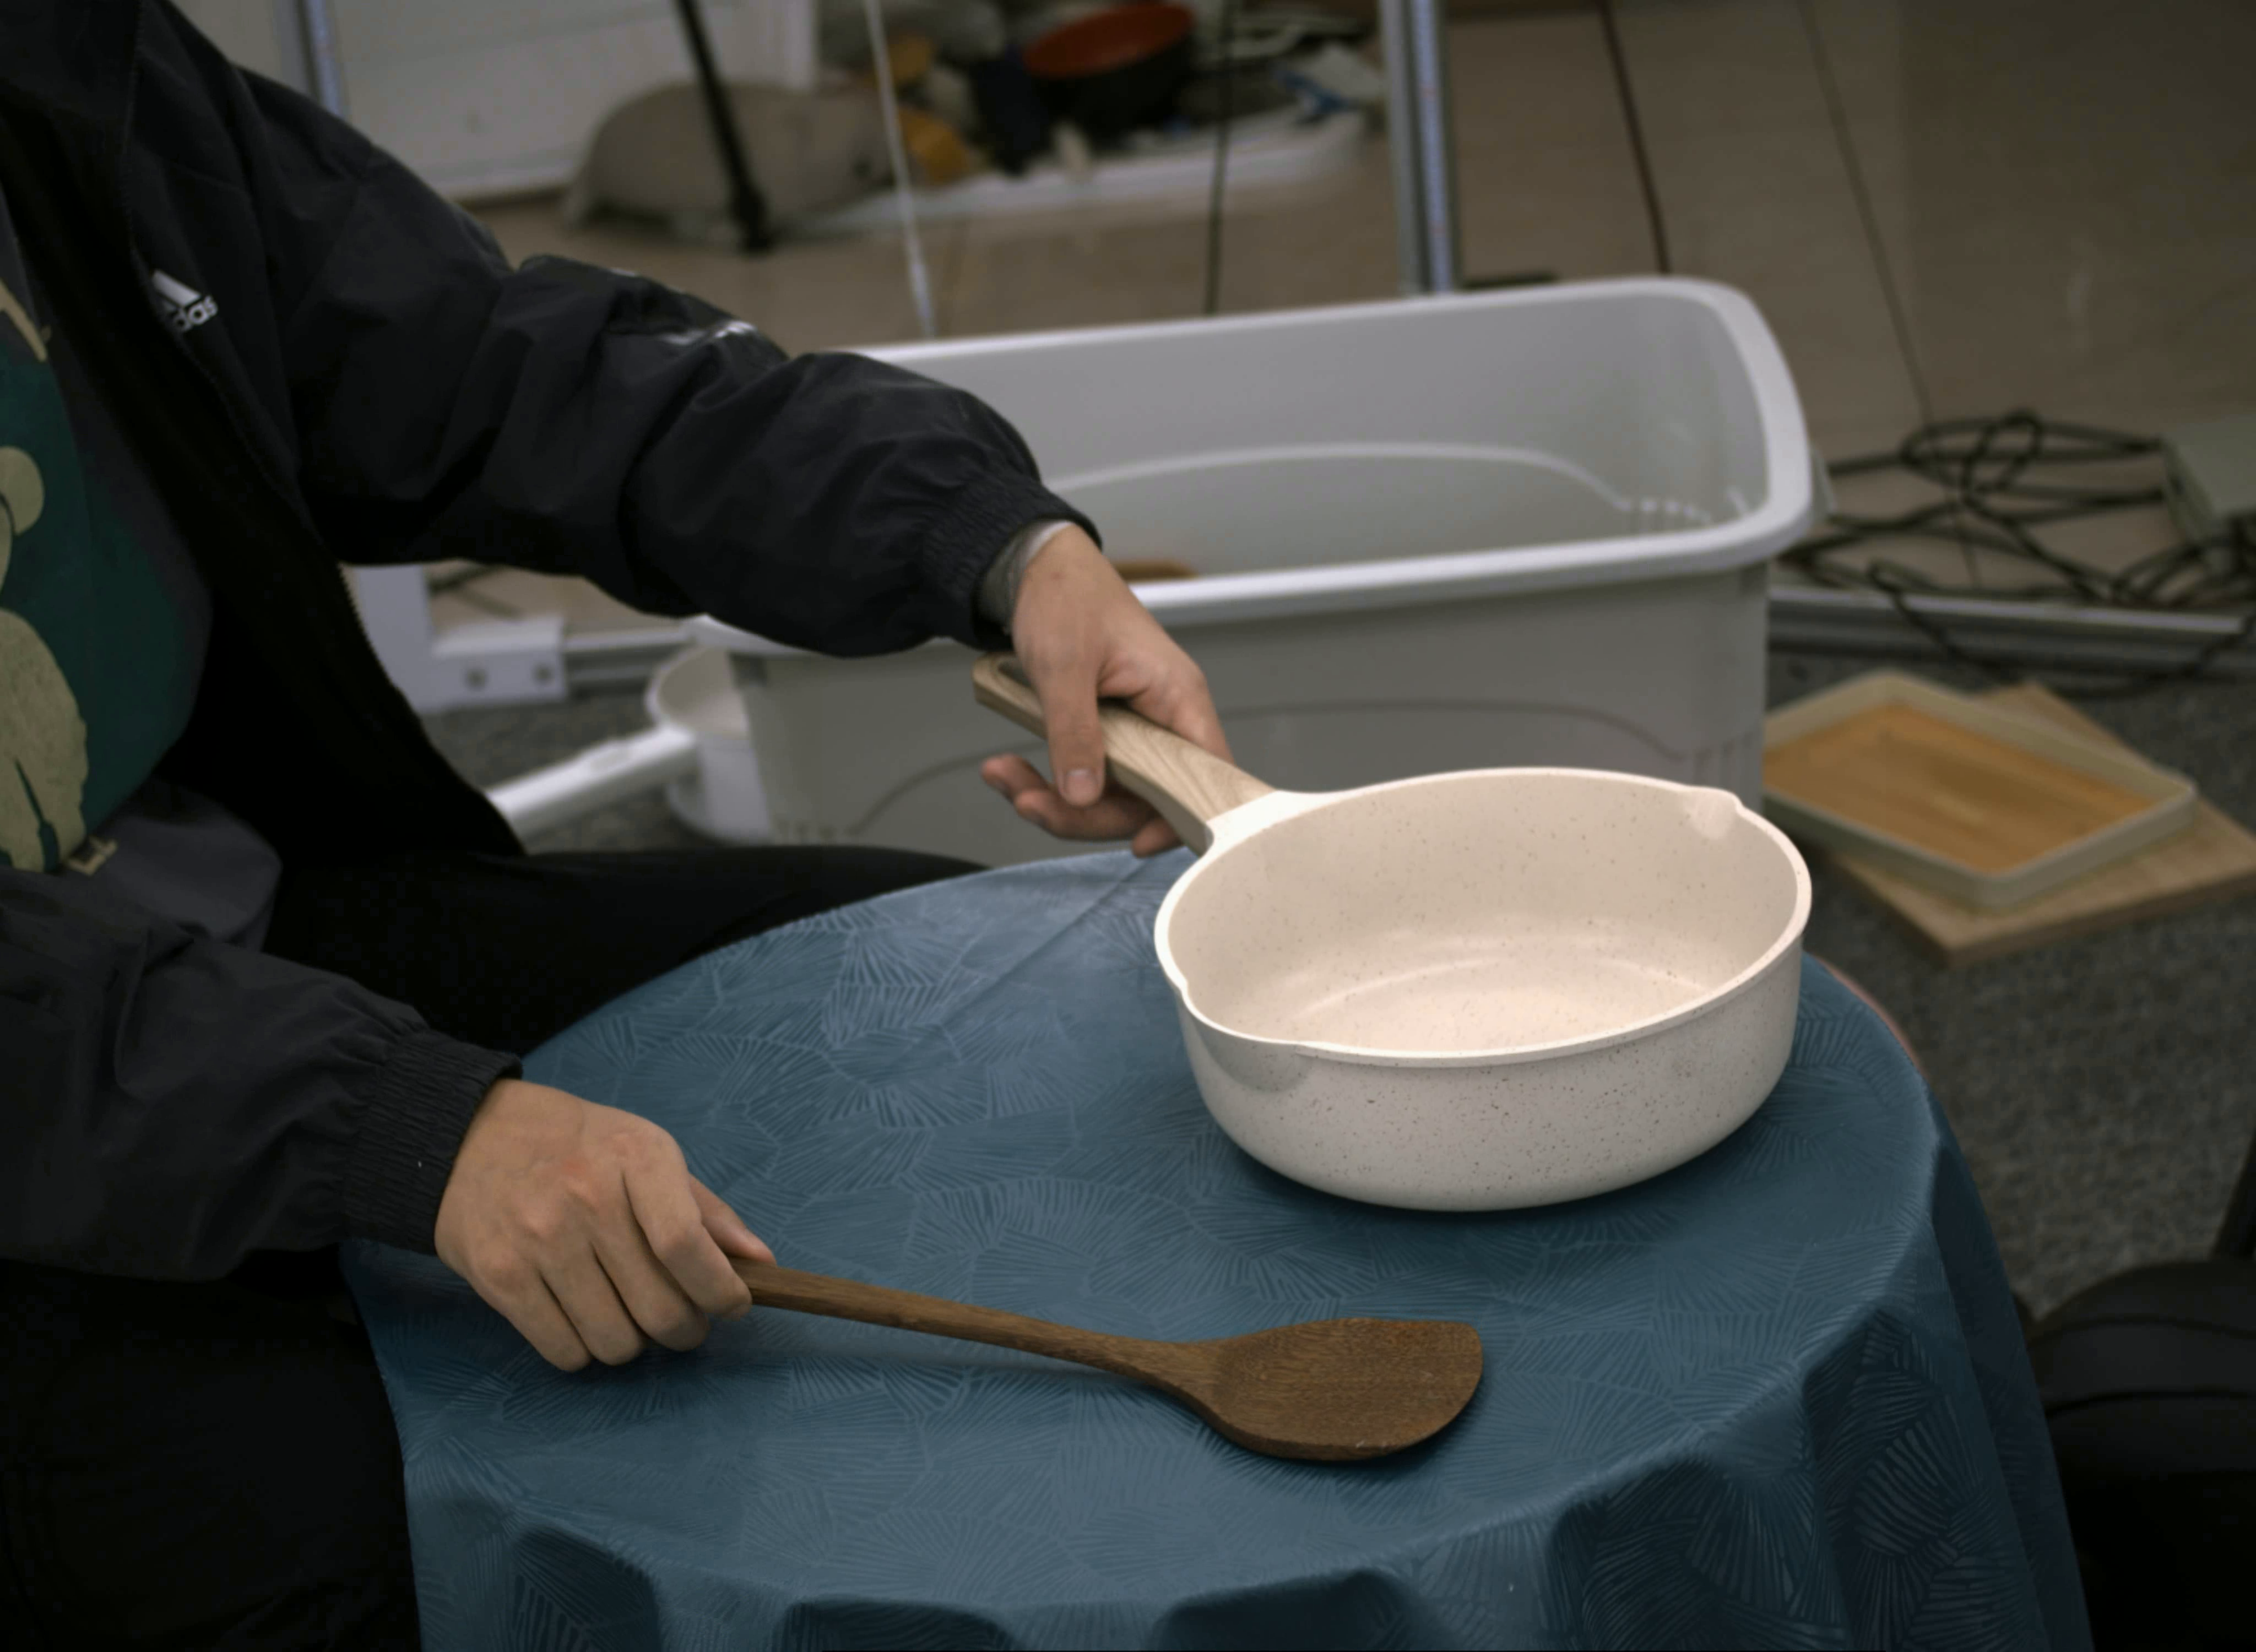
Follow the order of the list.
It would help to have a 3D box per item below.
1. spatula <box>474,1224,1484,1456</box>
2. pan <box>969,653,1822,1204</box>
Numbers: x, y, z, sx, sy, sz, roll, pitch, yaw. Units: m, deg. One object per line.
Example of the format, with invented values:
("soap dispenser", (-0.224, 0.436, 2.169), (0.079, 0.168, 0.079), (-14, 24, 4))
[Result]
("spatula", (-0.061, 0.178, 2.037), (0.384, 0.016, 0.095), (8, 26, 19))
("pan", (0.084, 0.031, 2.236), (0.261, 0.103, 0.431), (-25, 31, -31))
